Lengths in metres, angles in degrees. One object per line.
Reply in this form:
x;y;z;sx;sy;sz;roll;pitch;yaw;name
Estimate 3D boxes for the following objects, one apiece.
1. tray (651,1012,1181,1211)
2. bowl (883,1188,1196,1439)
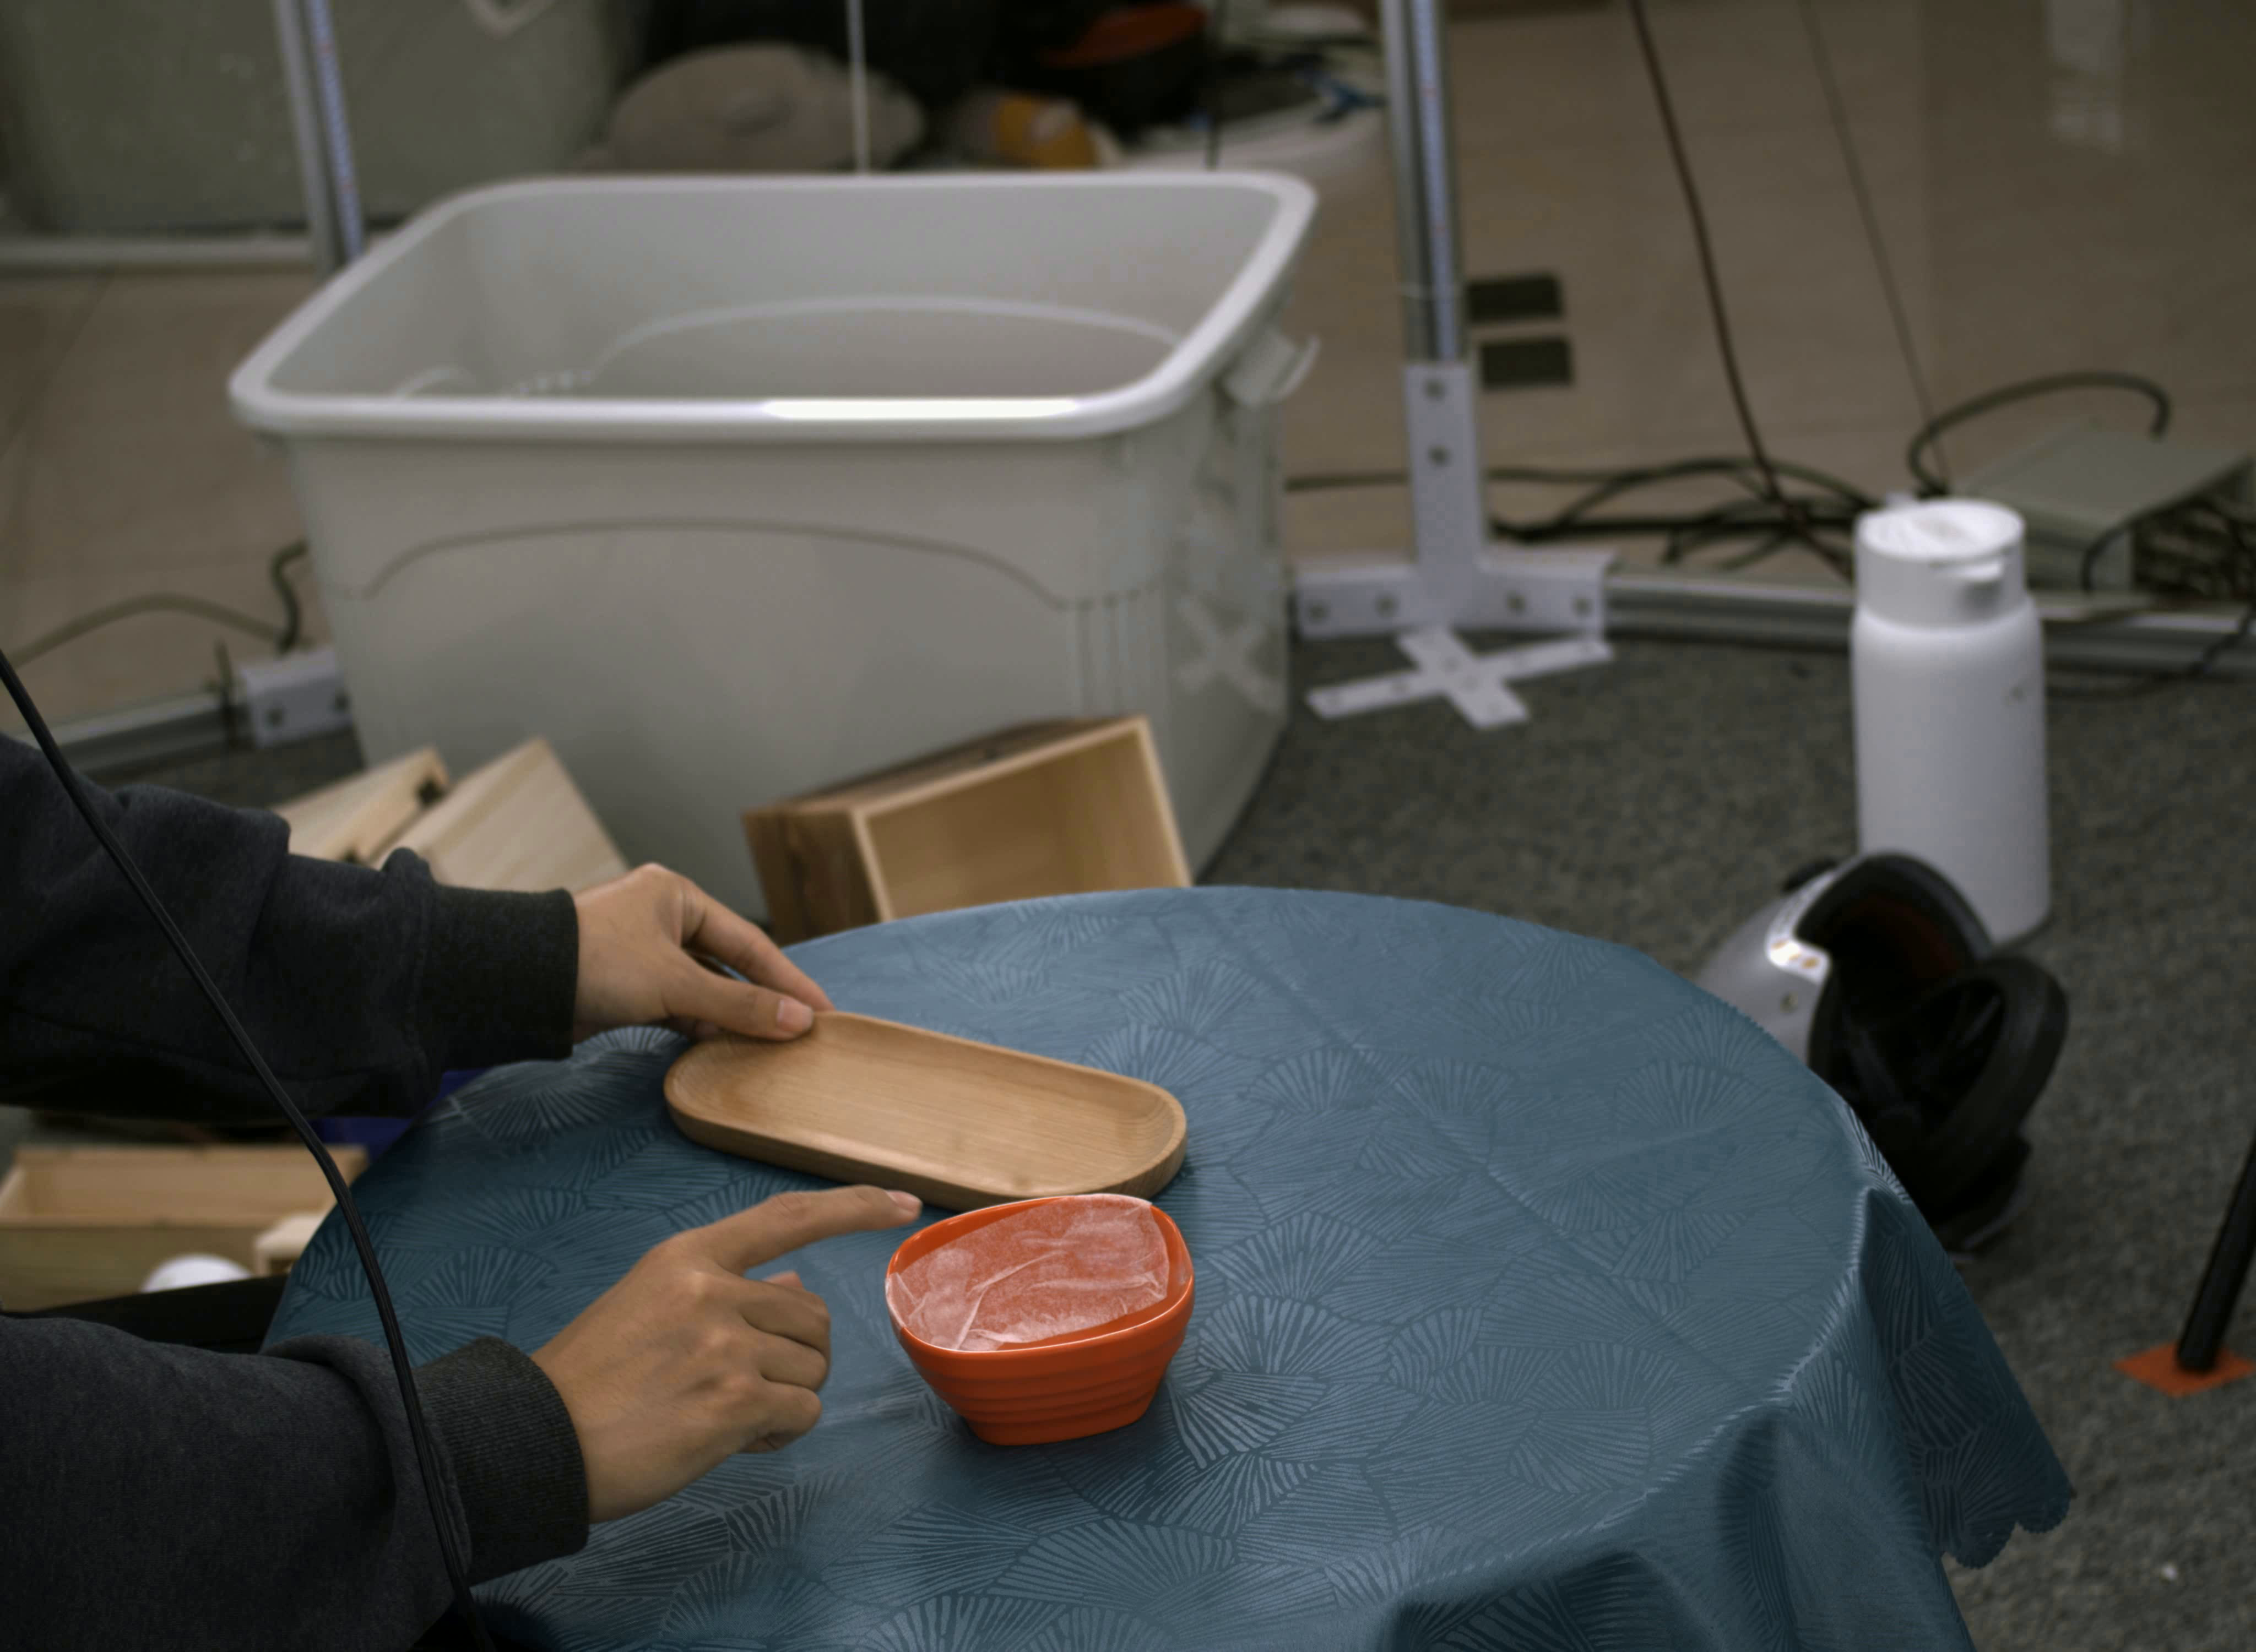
-0.083;0.113;2.204;0.230;0.020;0.100;10;28;33;tray
-0.030;0.177;2.006;0.119;0.052;0.117;-4;26;2;bowl
